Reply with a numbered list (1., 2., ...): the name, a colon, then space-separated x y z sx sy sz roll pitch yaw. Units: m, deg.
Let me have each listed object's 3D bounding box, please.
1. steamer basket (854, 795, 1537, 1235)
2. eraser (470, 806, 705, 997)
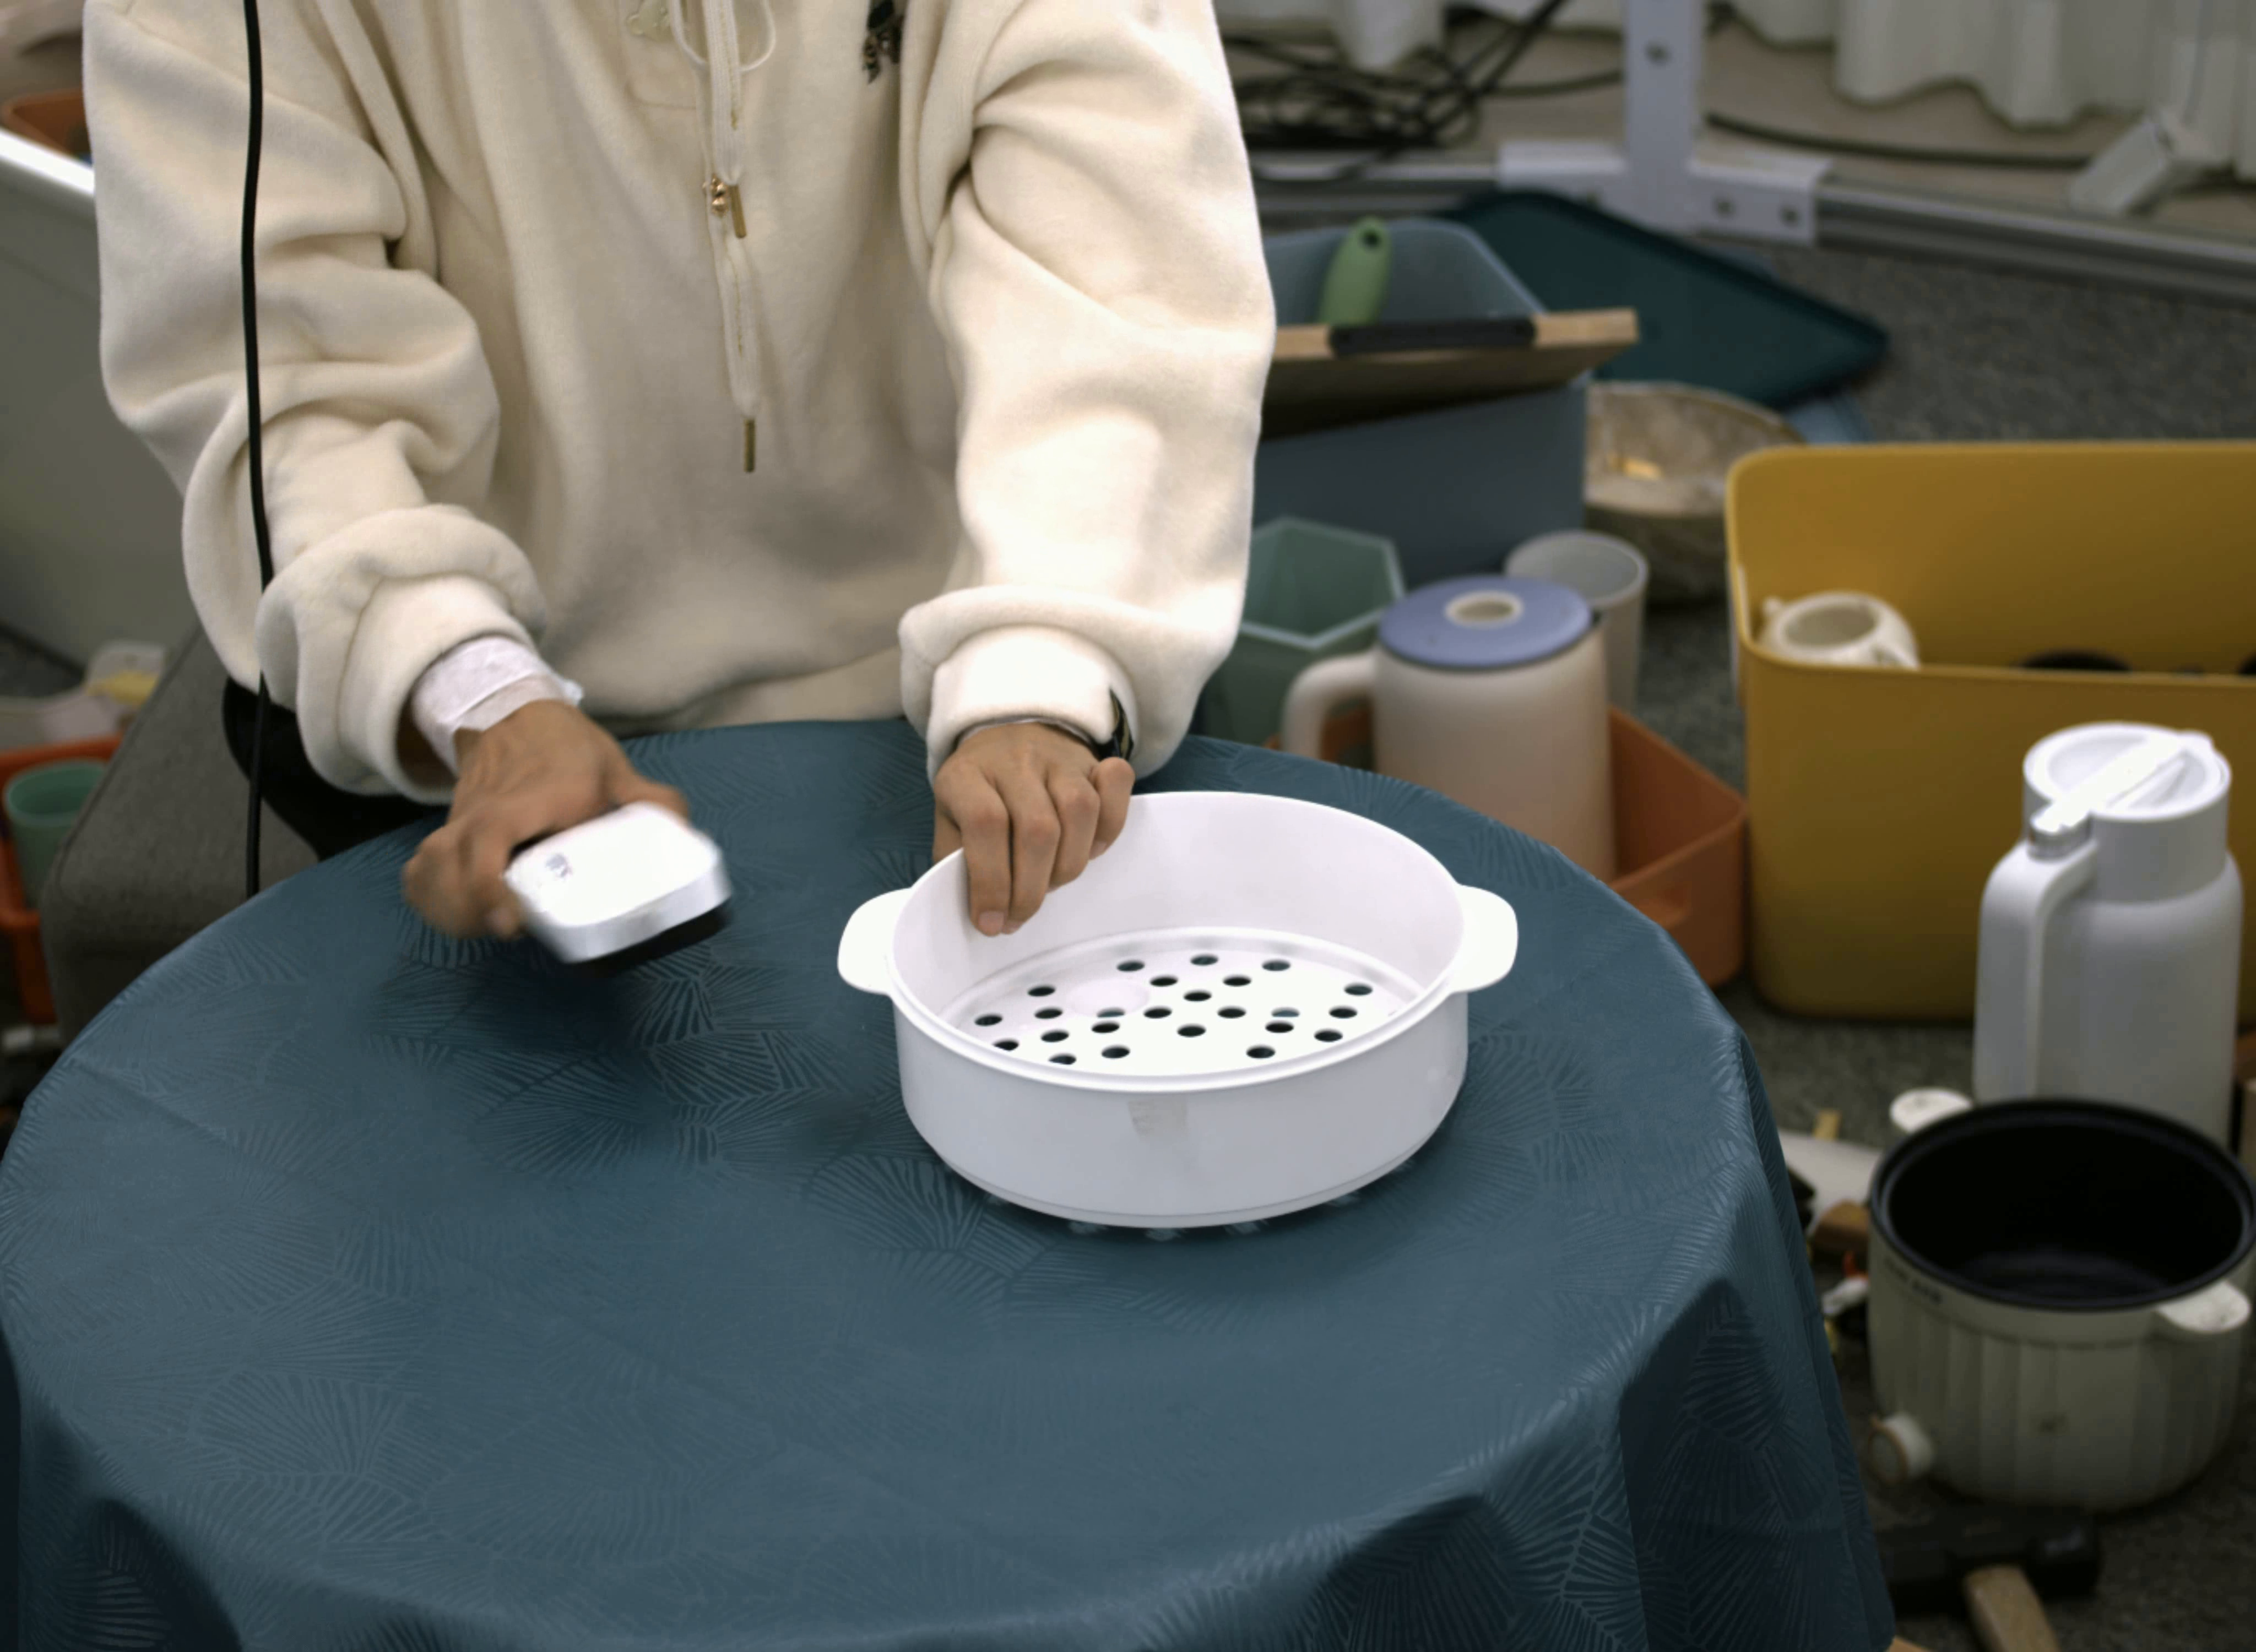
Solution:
1. steamer basket: 0.023 0.063 1.900 0.229 0.068 0.205 0 27 5
2. eraser: -0.187 0.024 1.954 0.063 0.034 0.131 -21 17 -12
